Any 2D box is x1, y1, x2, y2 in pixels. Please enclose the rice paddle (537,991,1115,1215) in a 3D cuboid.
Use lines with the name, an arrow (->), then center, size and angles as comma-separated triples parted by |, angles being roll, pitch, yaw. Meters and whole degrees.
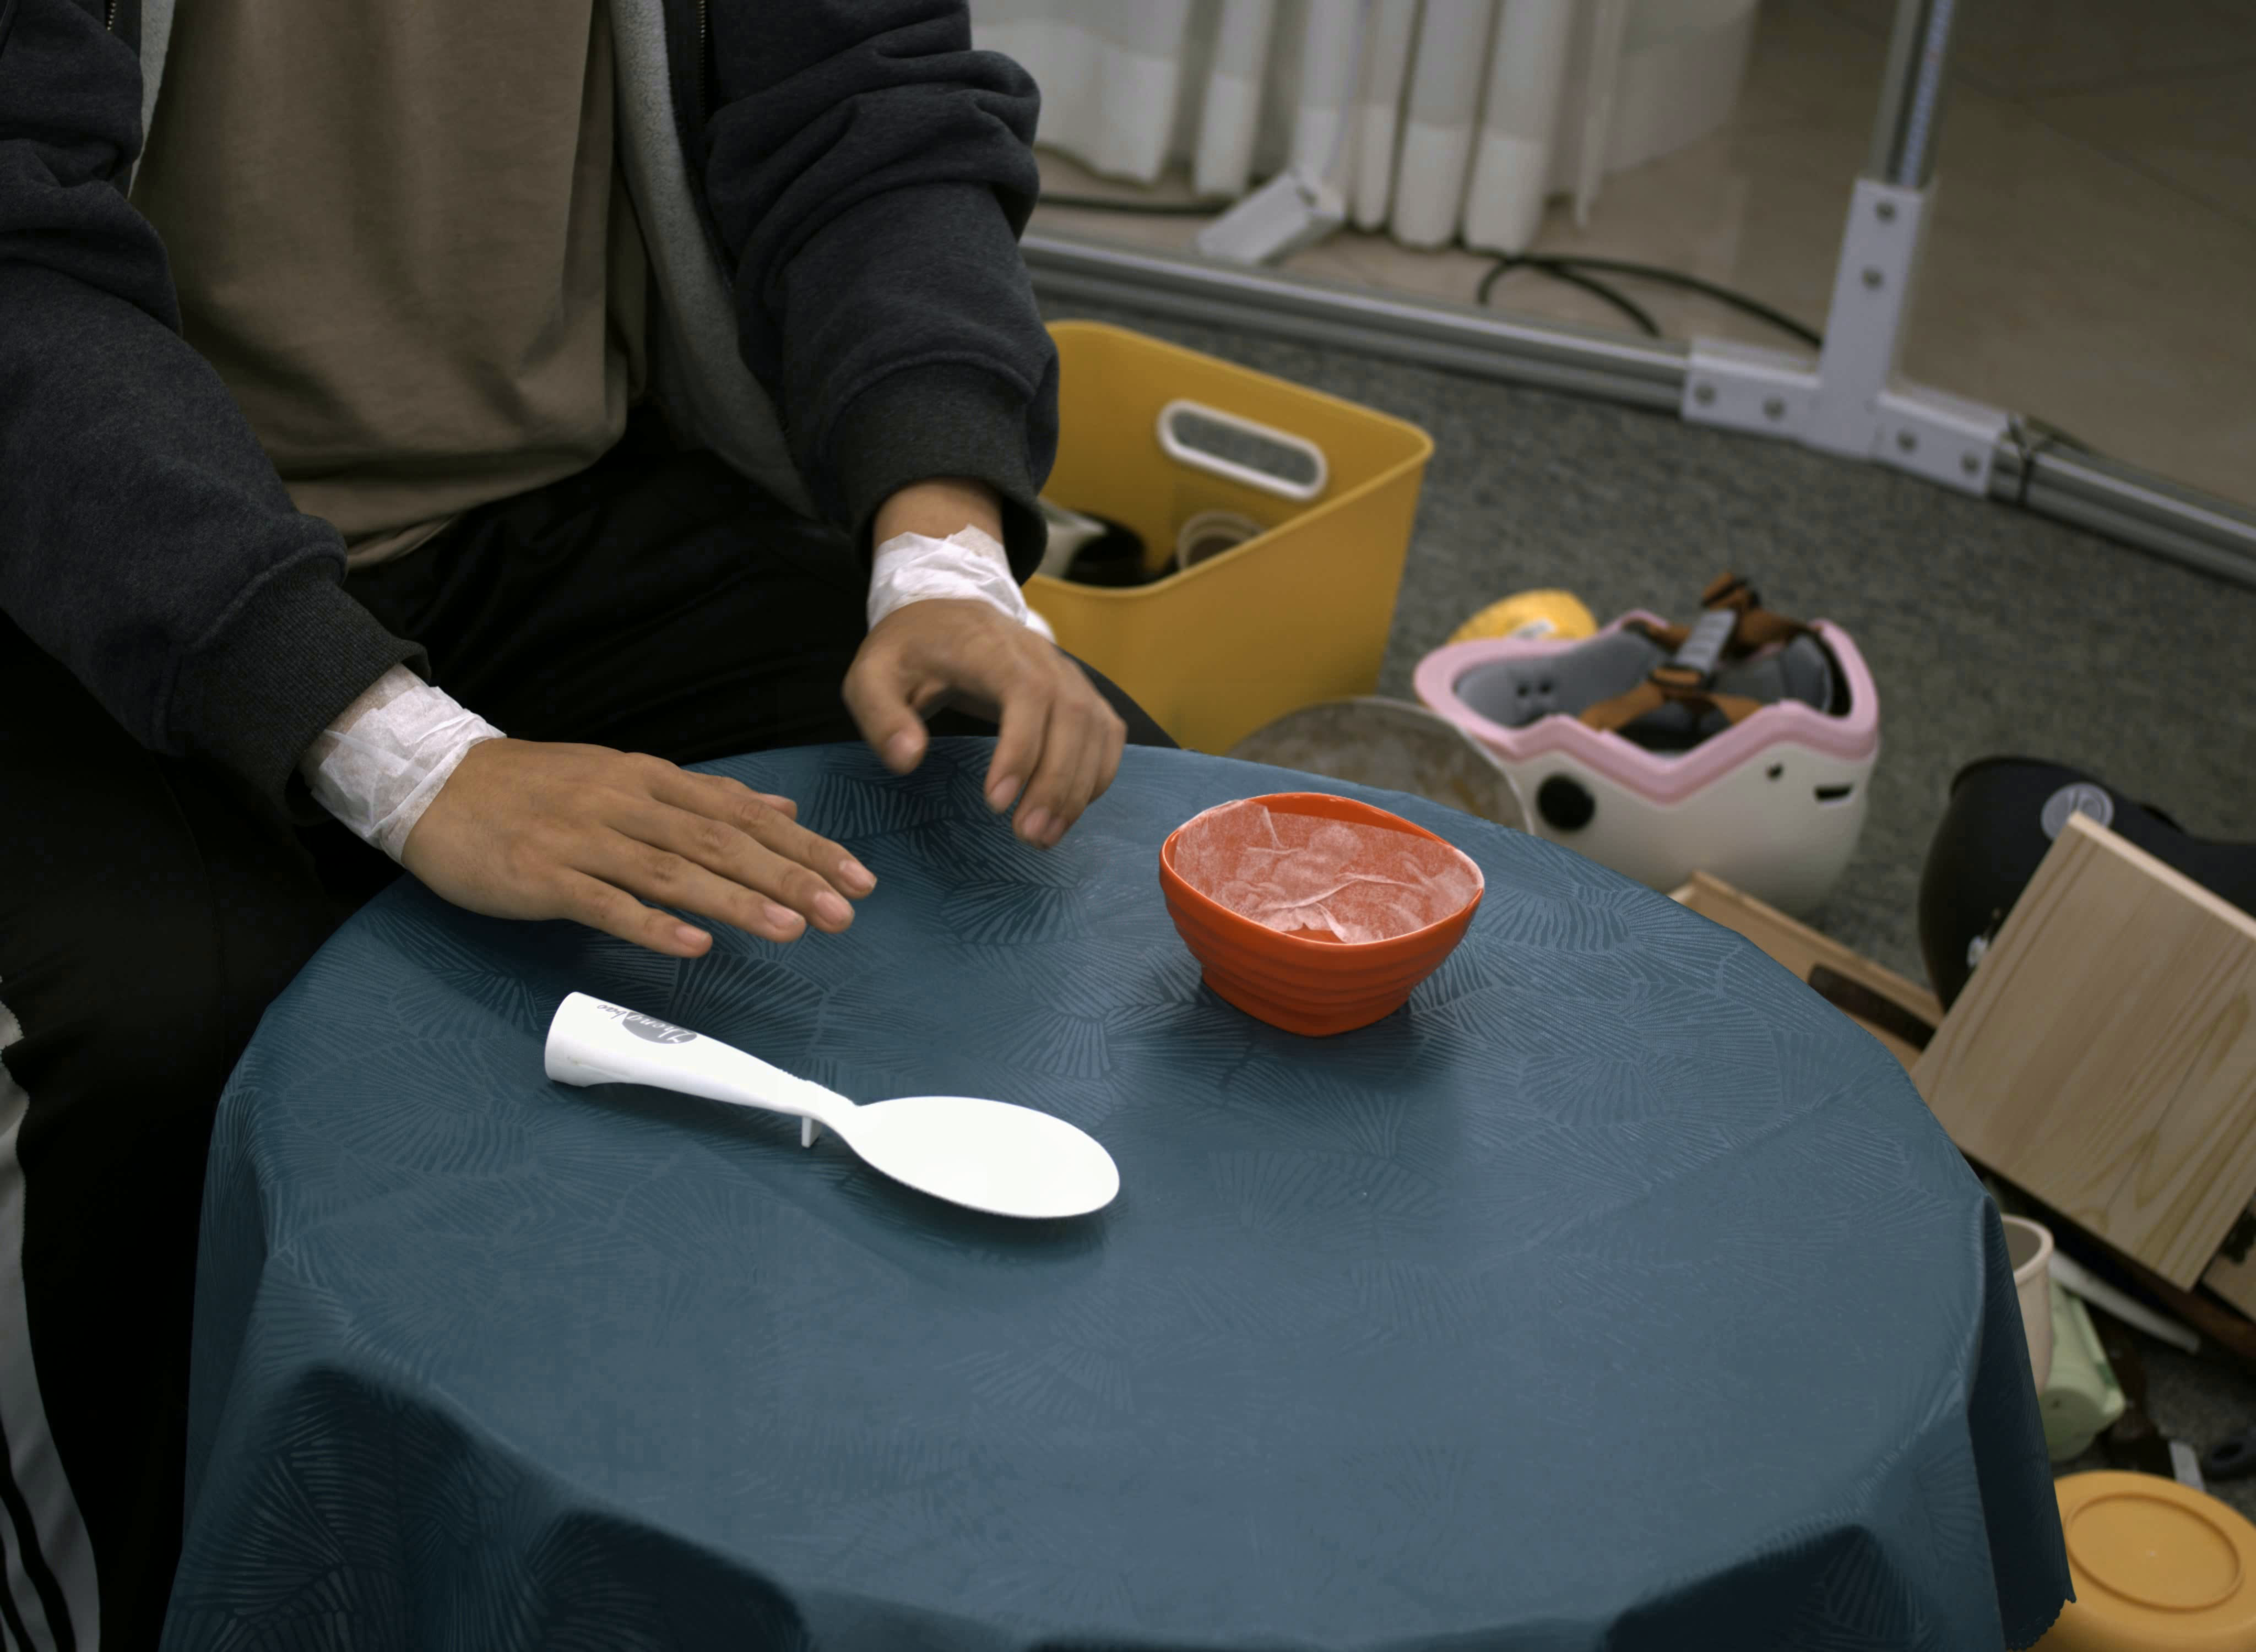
rice paddle -> -0.101, 0.095, 1.802 | 0.205, 0.029, 0.069 | 14, 29, 14

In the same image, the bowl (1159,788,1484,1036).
bowl -> 0.067, 0.035, 1.931 | 0.118, 0.051, 0.119 | 6, 27, -3
